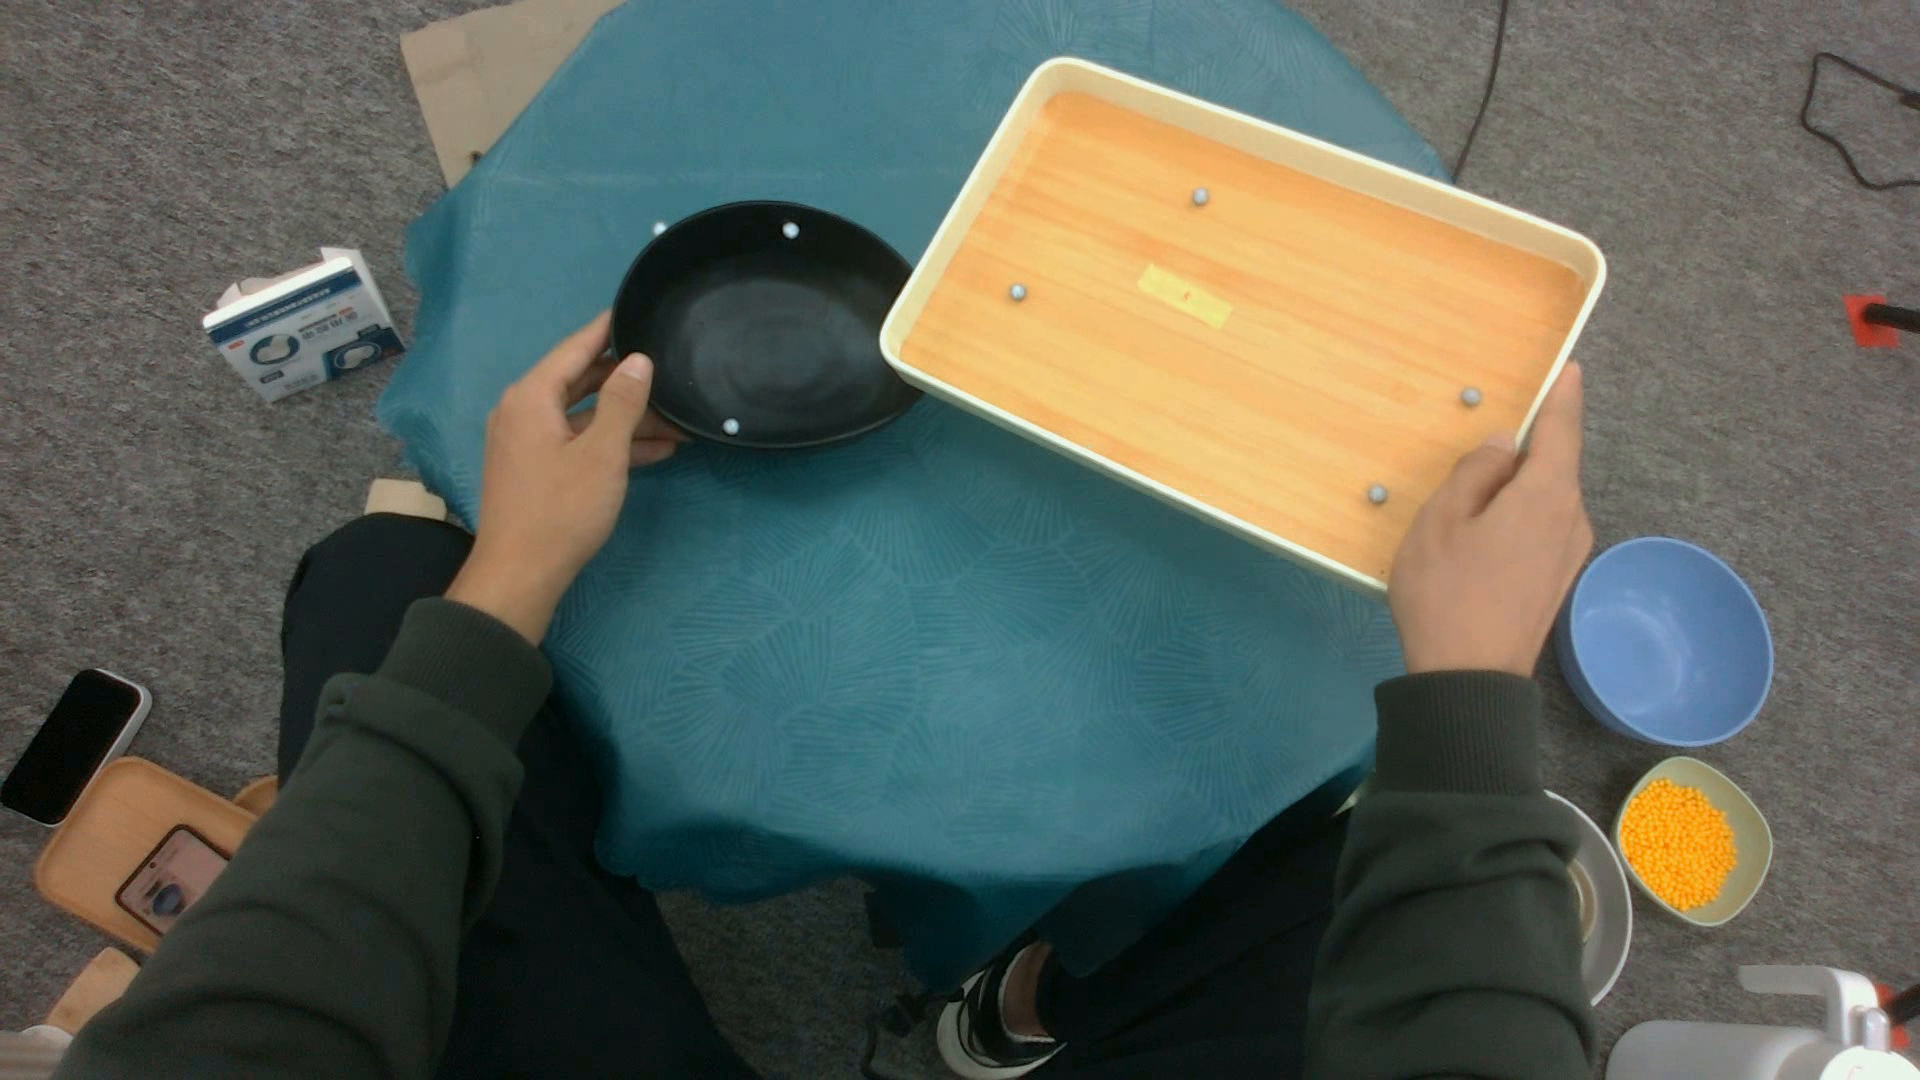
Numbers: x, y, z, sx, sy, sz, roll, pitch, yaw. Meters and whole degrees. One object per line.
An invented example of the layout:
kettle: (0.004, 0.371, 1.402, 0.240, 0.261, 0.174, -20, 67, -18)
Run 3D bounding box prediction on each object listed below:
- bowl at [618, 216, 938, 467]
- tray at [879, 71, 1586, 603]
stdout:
bowl: (-0.095, -0.098, 0.738, 0.170, 0.066, 0.137, -3, 75, -13)
tray: (0.125, -0.110, 0.679, 0.300, 0.027, 0.192, 26, 81, 21)
